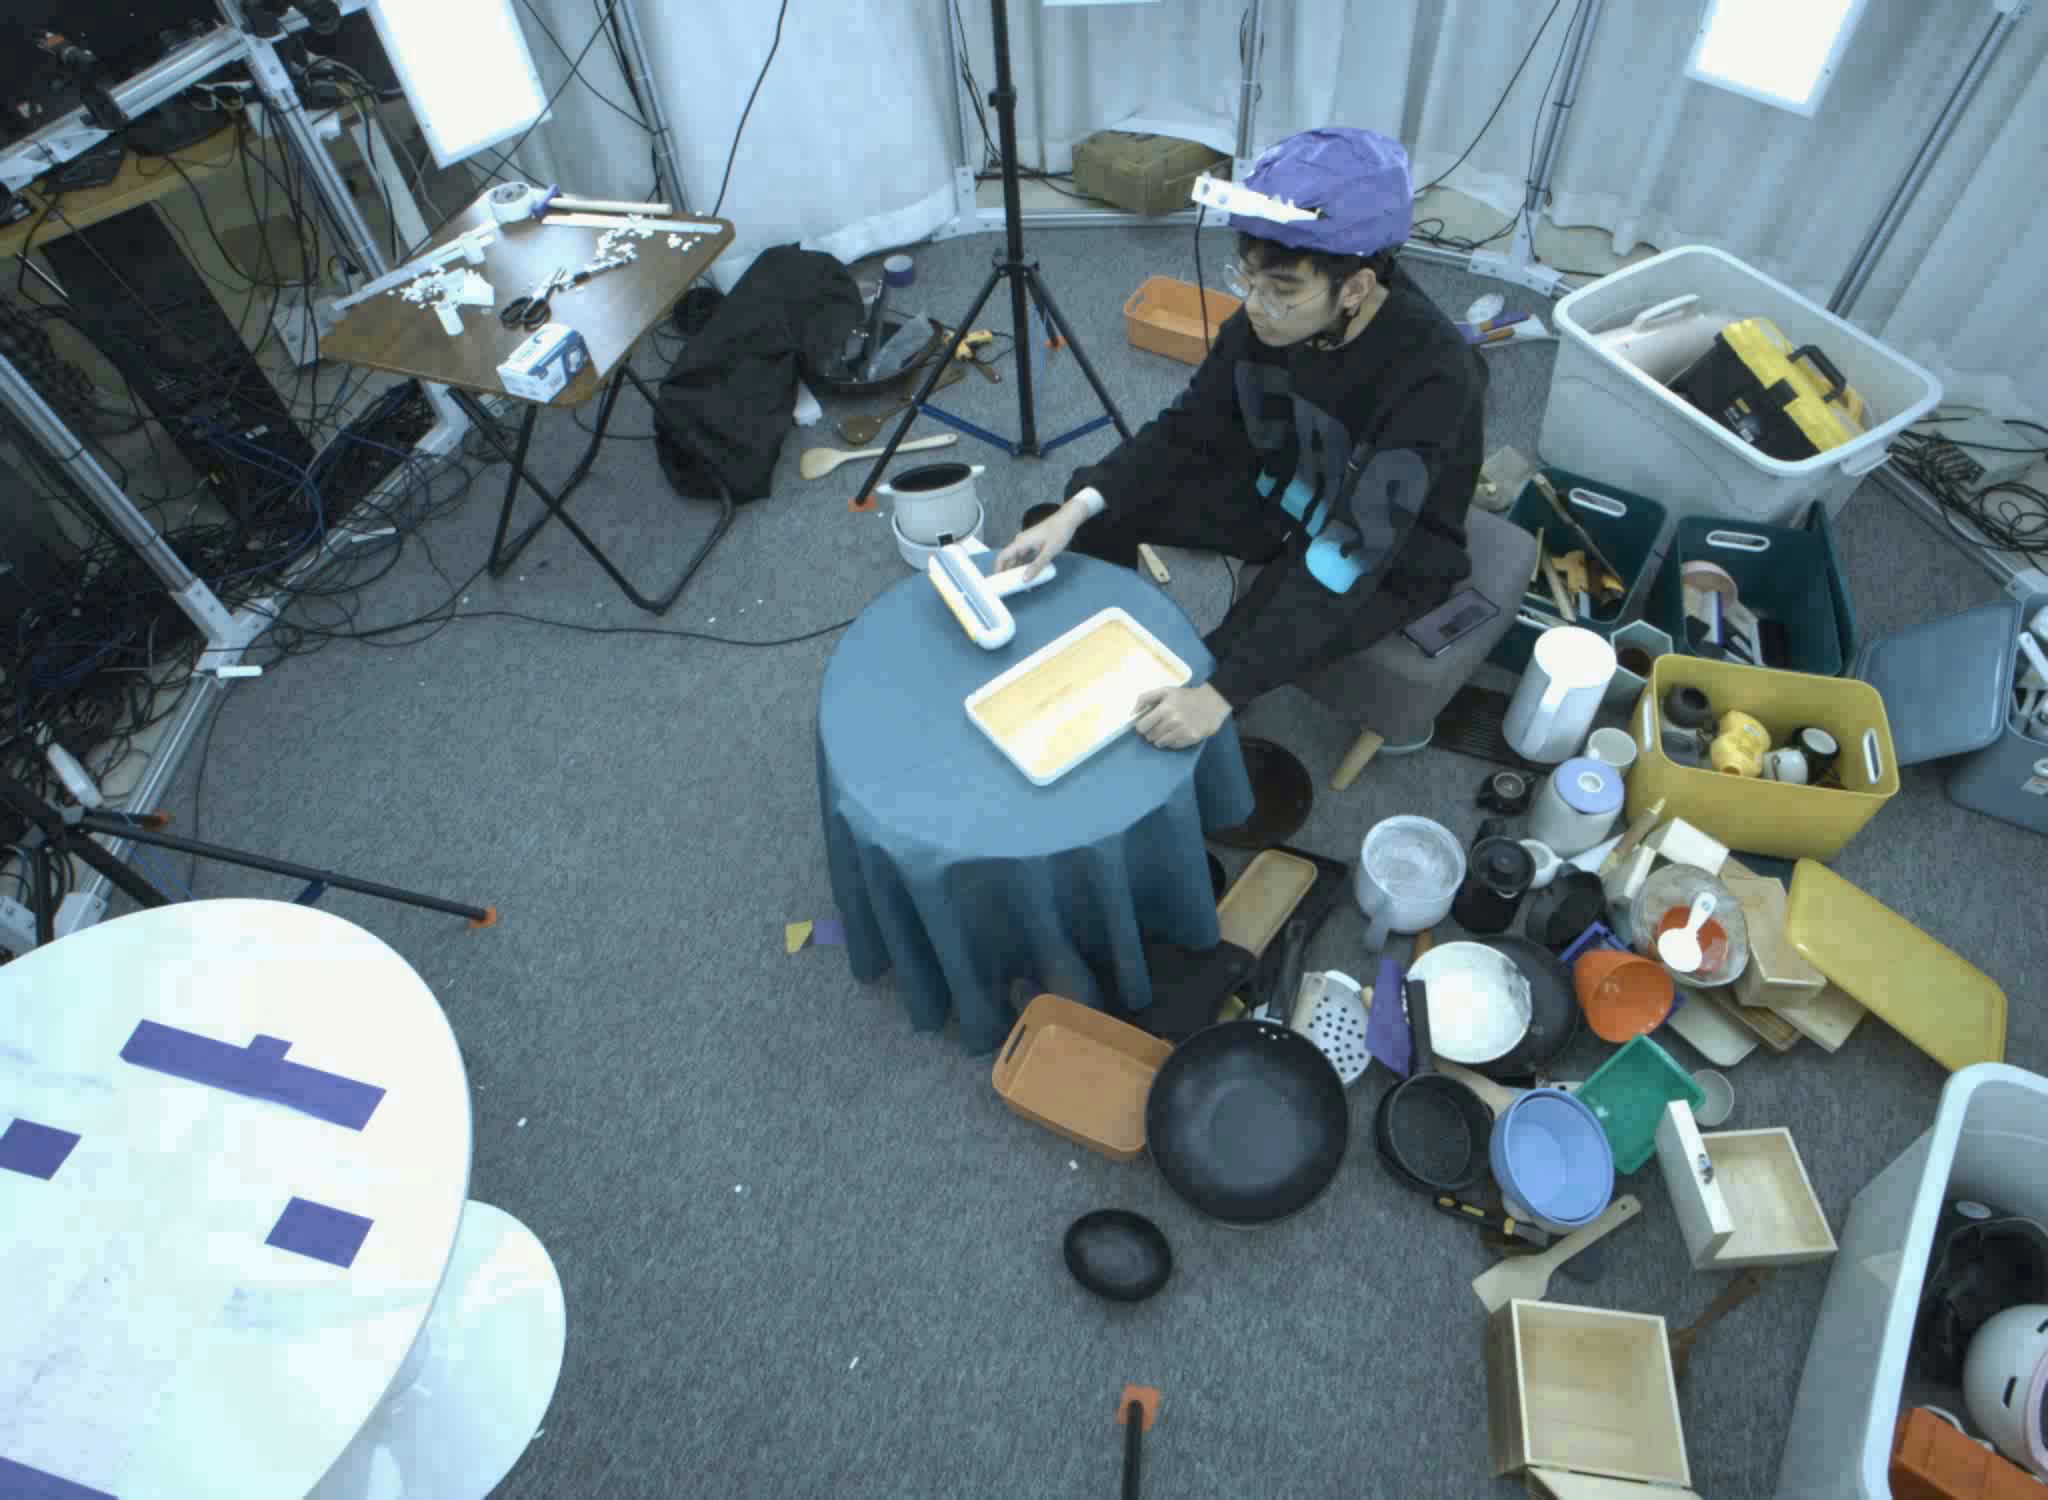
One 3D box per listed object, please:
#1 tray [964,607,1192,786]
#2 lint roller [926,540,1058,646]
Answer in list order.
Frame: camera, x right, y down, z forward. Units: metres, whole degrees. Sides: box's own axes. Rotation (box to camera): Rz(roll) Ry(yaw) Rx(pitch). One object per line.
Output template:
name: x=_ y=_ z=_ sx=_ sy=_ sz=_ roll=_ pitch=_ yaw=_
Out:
tray: x=0.081 y=-0.085 z=1.824 sx=0.302 sy=0.028 sz=0.188 roll=-33 pitch=61 yaw=-20
lint roller: x=-0.035 y=-0.264 z=1.927 sx=0.194 sy=0.075 sz=0.189 roll=-25 pitch=63 yaw=-13
